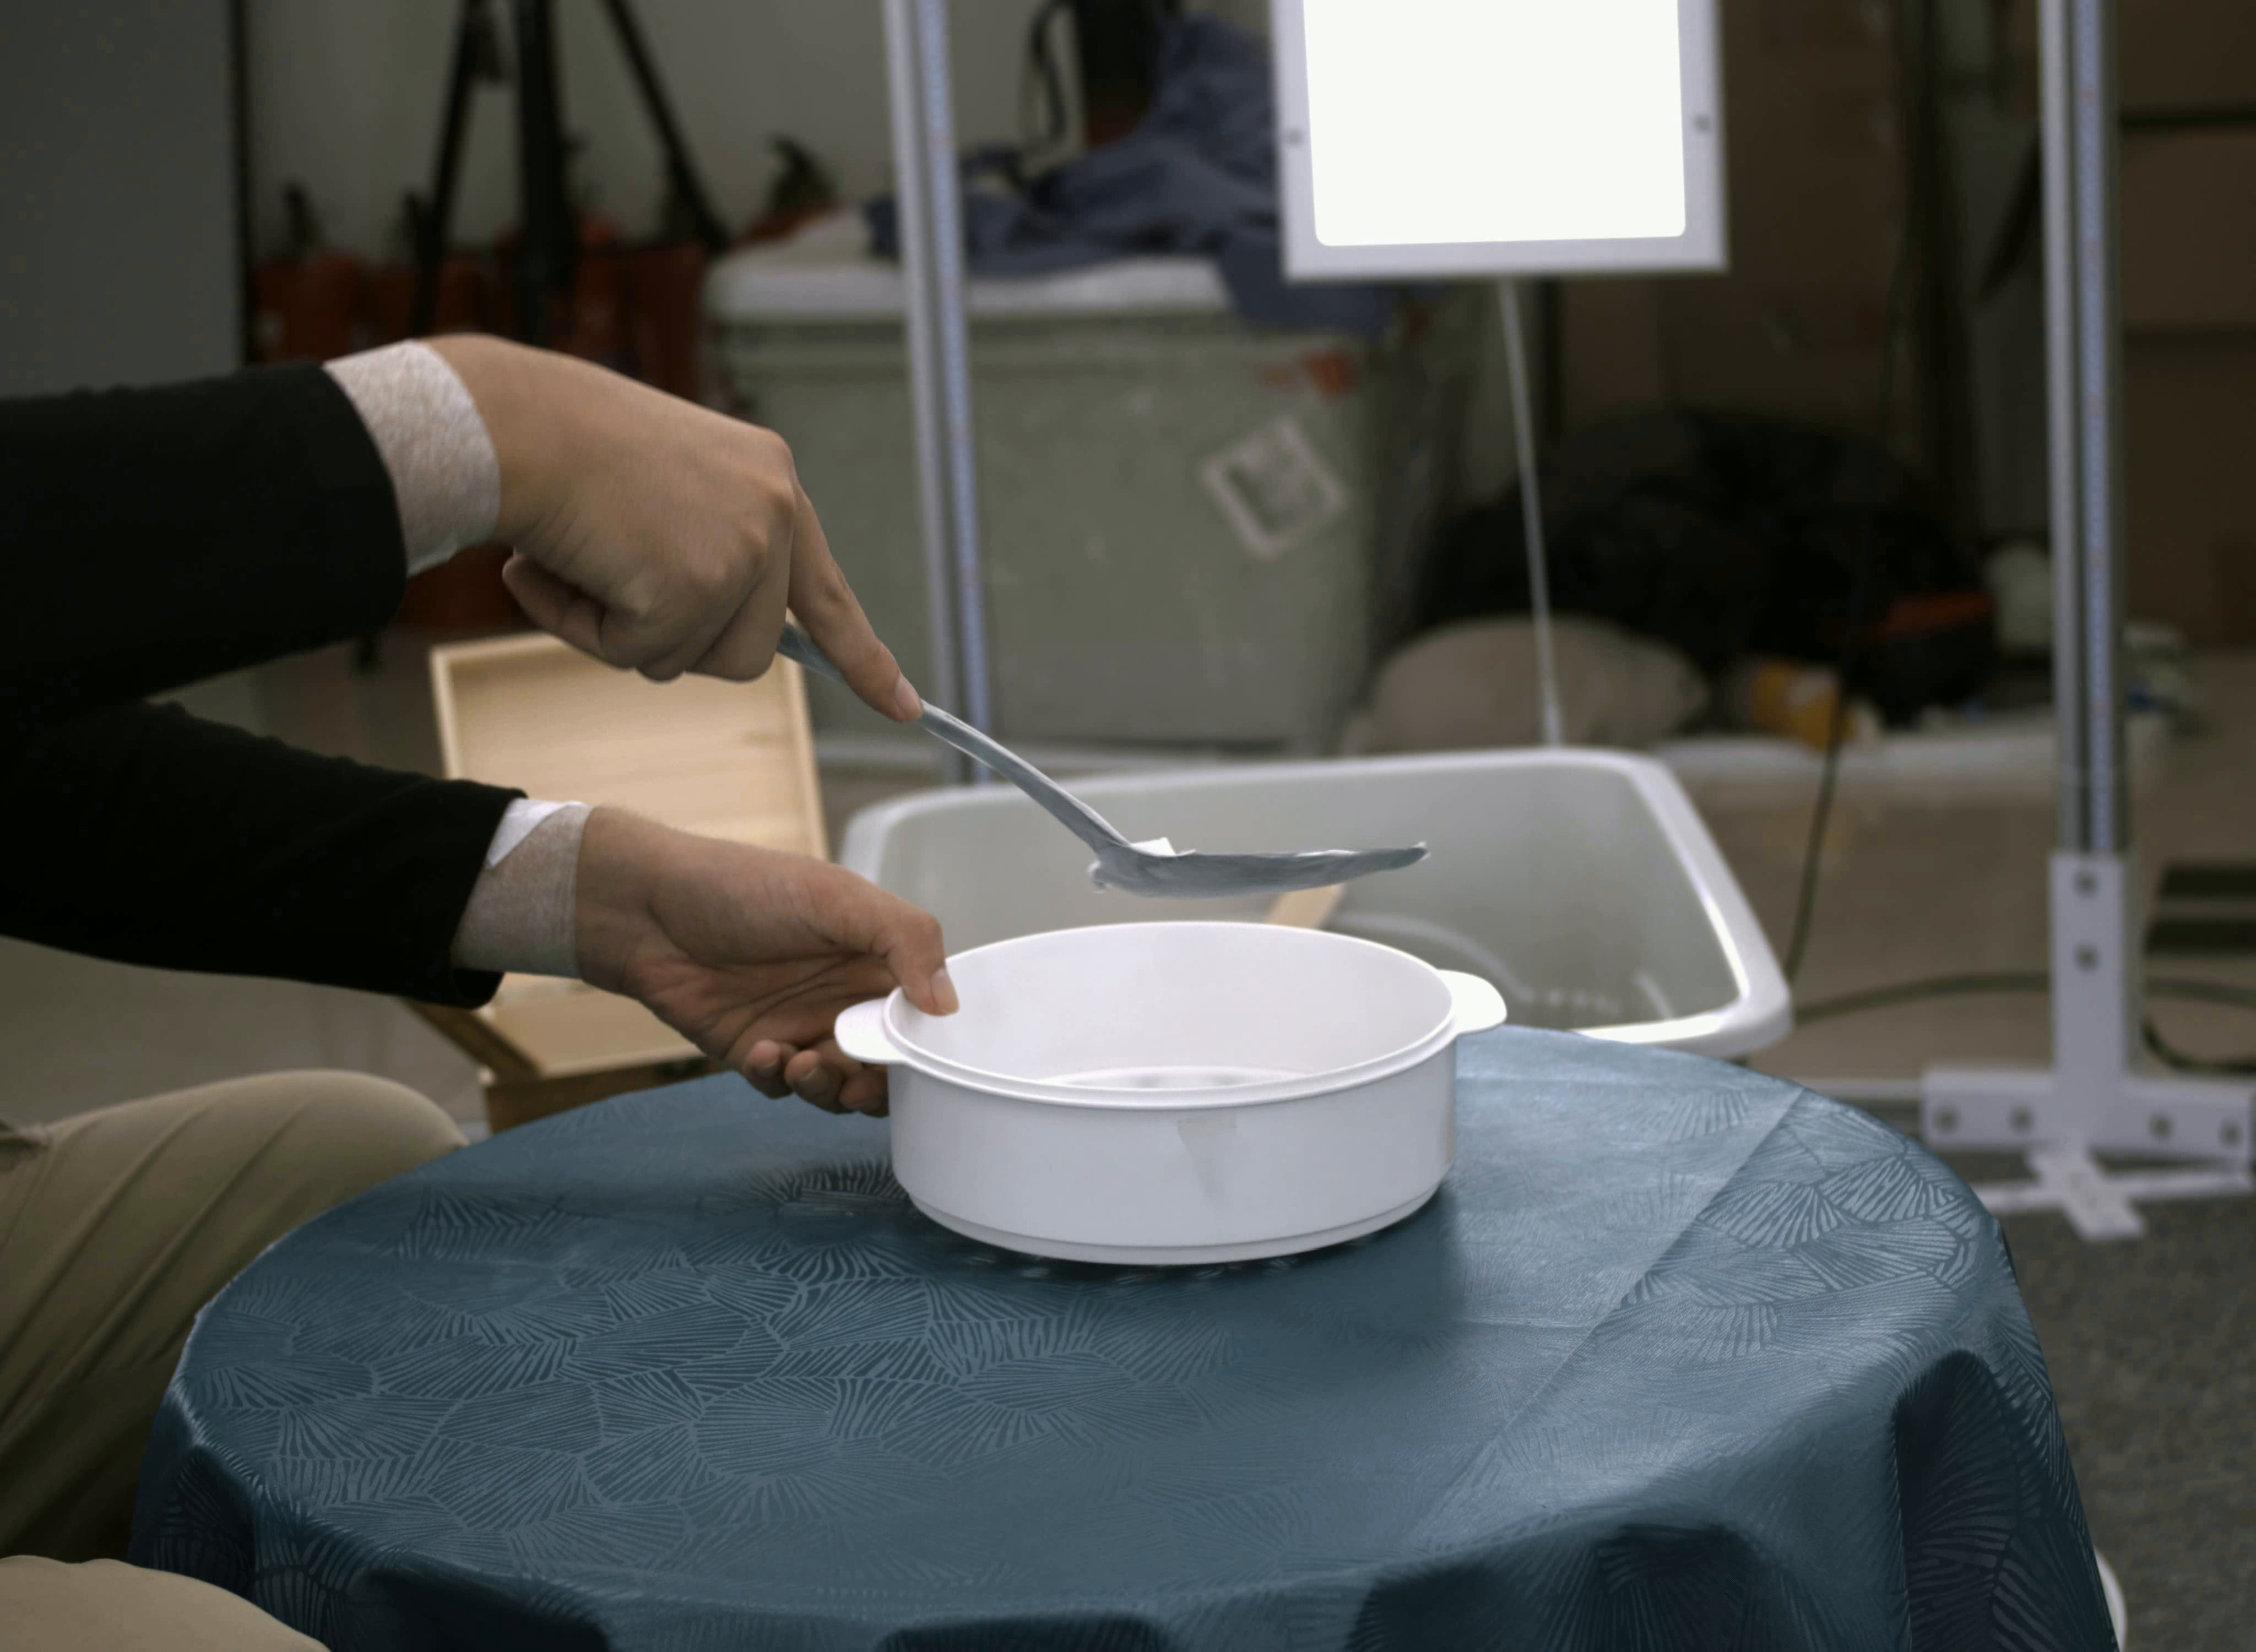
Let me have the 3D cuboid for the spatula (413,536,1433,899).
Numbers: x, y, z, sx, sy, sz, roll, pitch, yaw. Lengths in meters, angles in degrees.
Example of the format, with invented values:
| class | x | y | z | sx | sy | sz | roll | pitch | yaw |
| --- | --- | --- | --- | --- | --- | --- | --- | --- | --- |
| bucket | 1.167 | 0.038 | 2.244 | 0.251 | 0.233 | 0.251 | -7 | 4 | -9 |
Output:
| class | x | y | z | sx | sy | sz | roll | pitch | yaw |
| --- | --- | --- | --- | --- | --- | --- | --- | --- | --- |
| spatula | -0.062 | -0.036 | 1.722 | 0.358 | 0.044 | 0.101 | 26 | -19 | -30 |

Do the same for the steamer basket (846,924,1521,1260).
| class | x | y | z | sx | sy | sz | roll | pitch | yaw |
| --- | --- | --- | --- | --- | --- | --- | --- | --- | --- |
| steamer basket | 0.020 | 0.090 | 1.879 | 0.229 | 0.069 | 0.202 | -4 | 14 | -2 |
